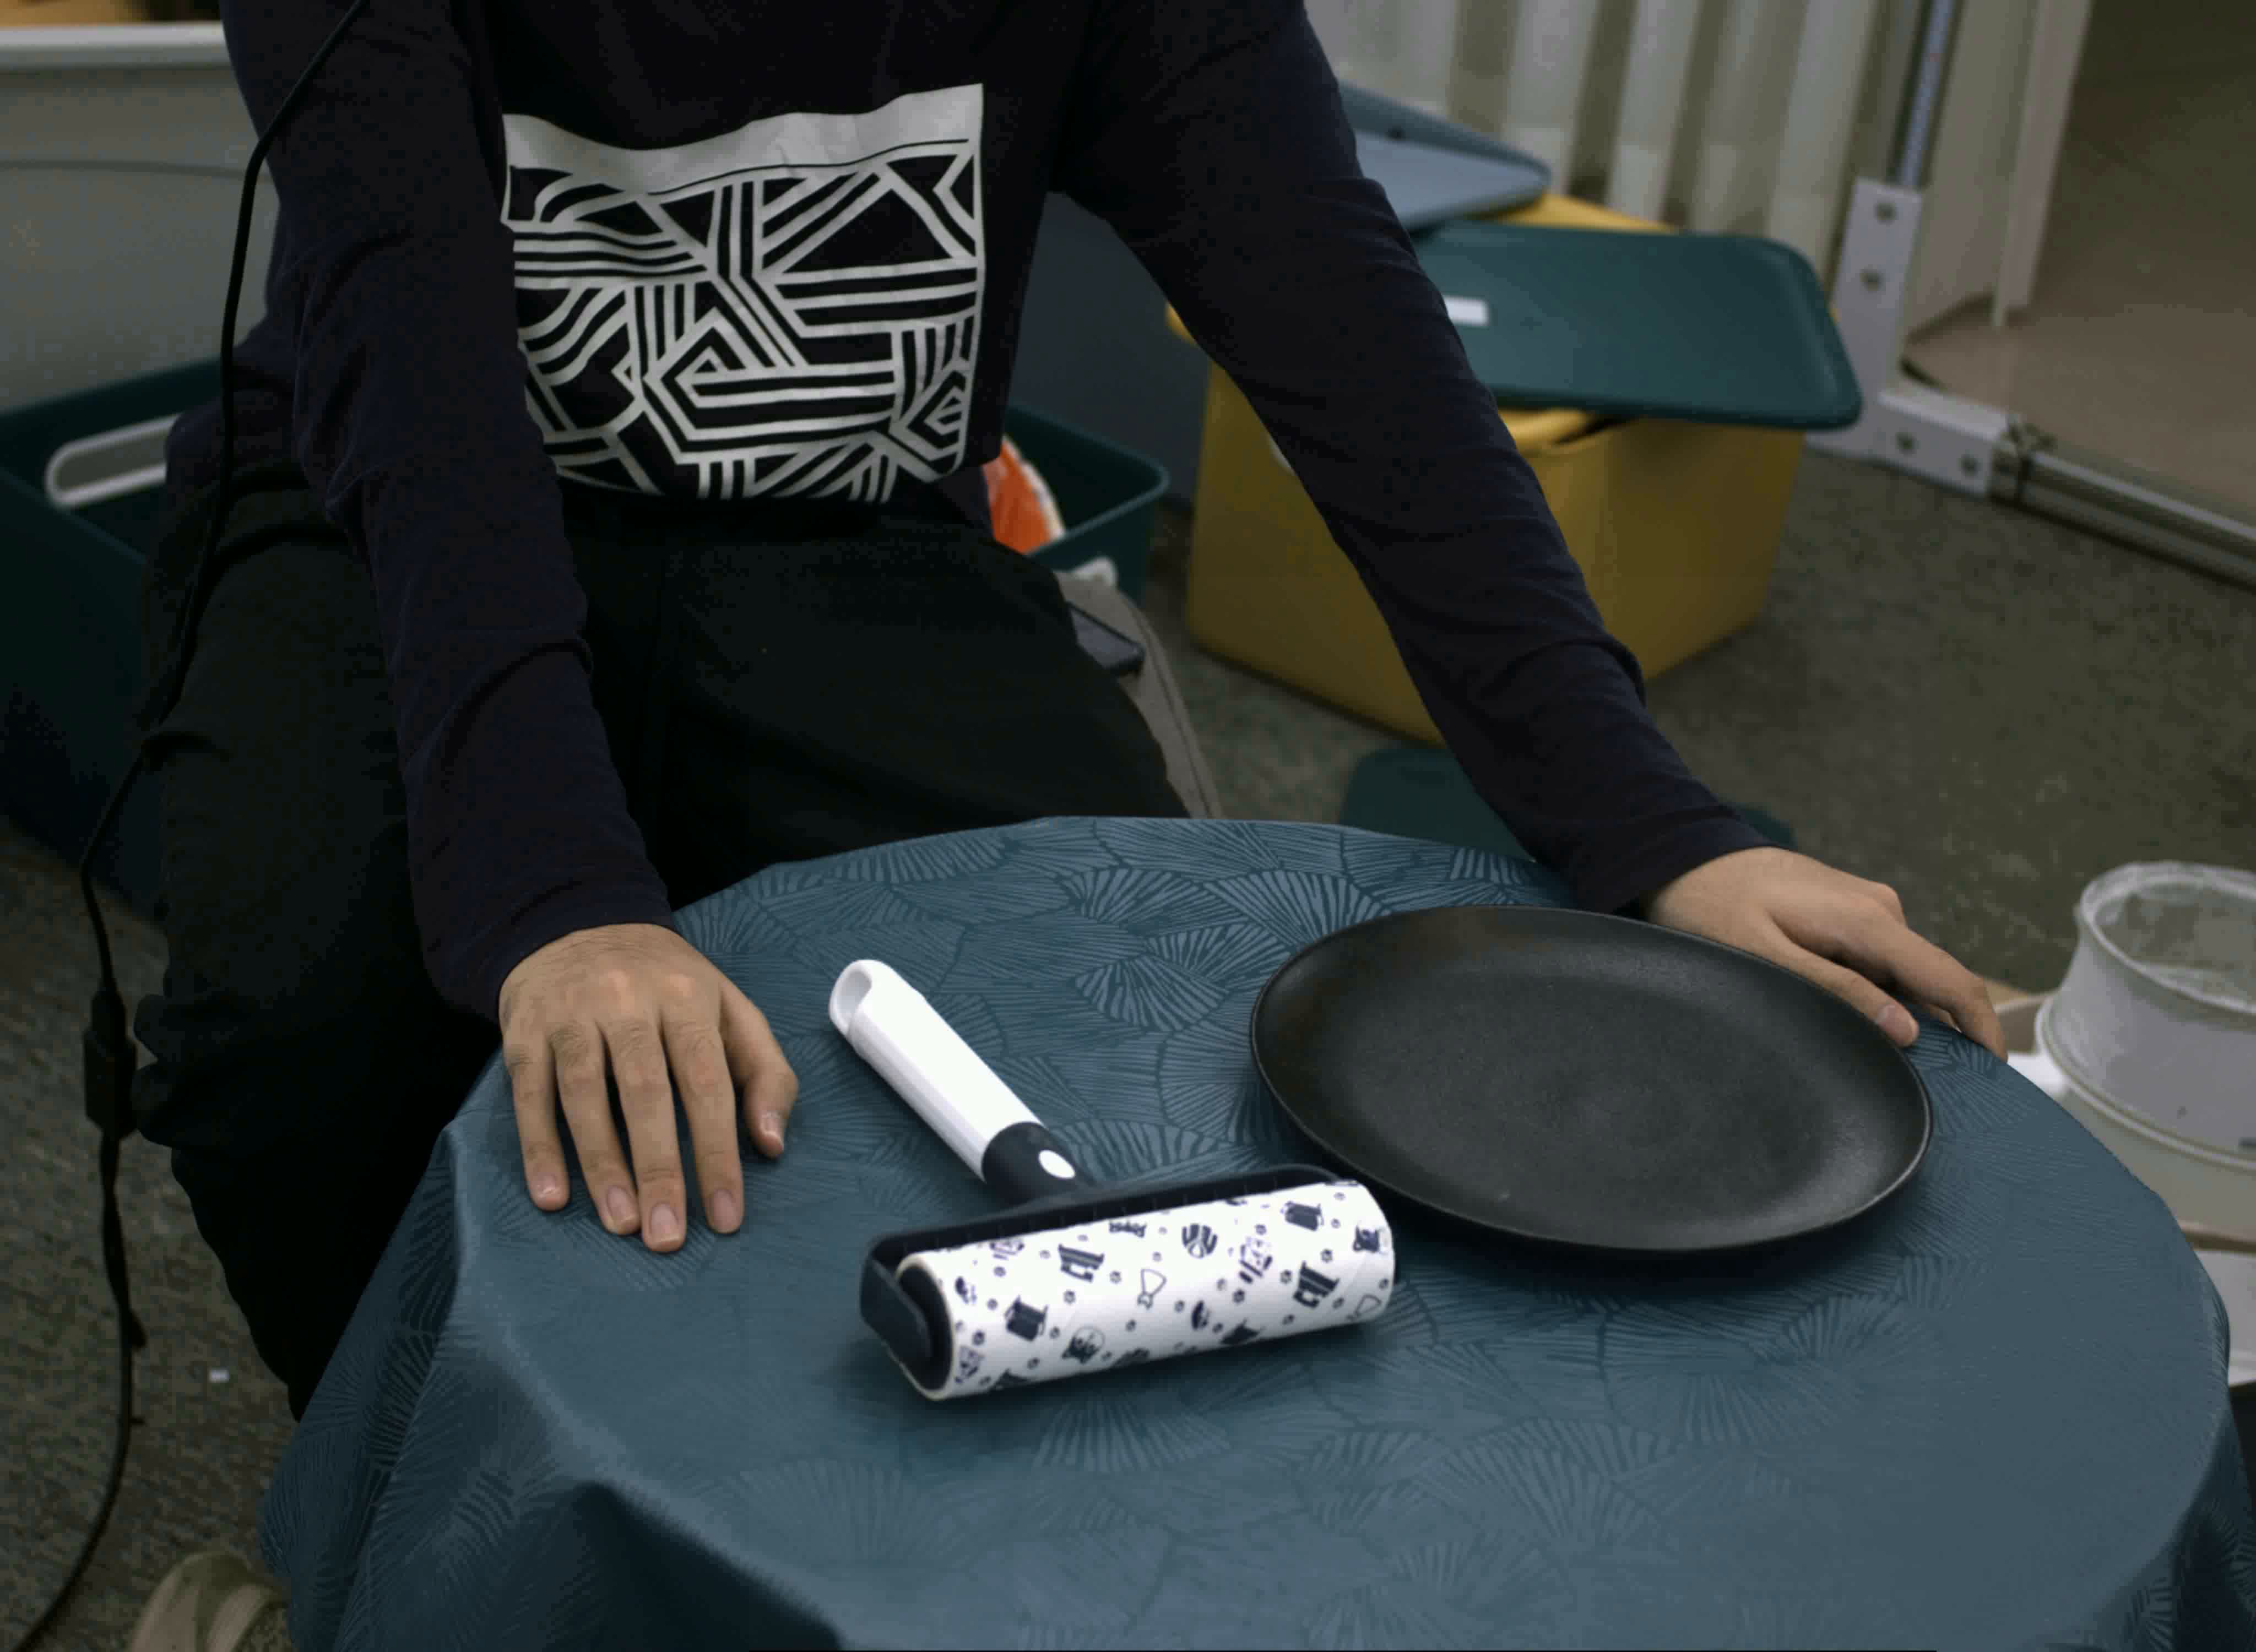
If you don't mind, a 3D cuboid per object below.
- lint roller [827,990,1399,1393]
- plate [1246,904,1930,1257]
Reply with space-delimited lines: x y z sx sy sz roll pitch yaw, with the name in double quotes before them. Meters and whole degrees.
"lint roller" -0.043 0.106 1.787 0.175 0.050 0.249 -9 27 -26
"plate" 0.161 0.093 1.878 0.243 0.023 0.246 5 27 -3
